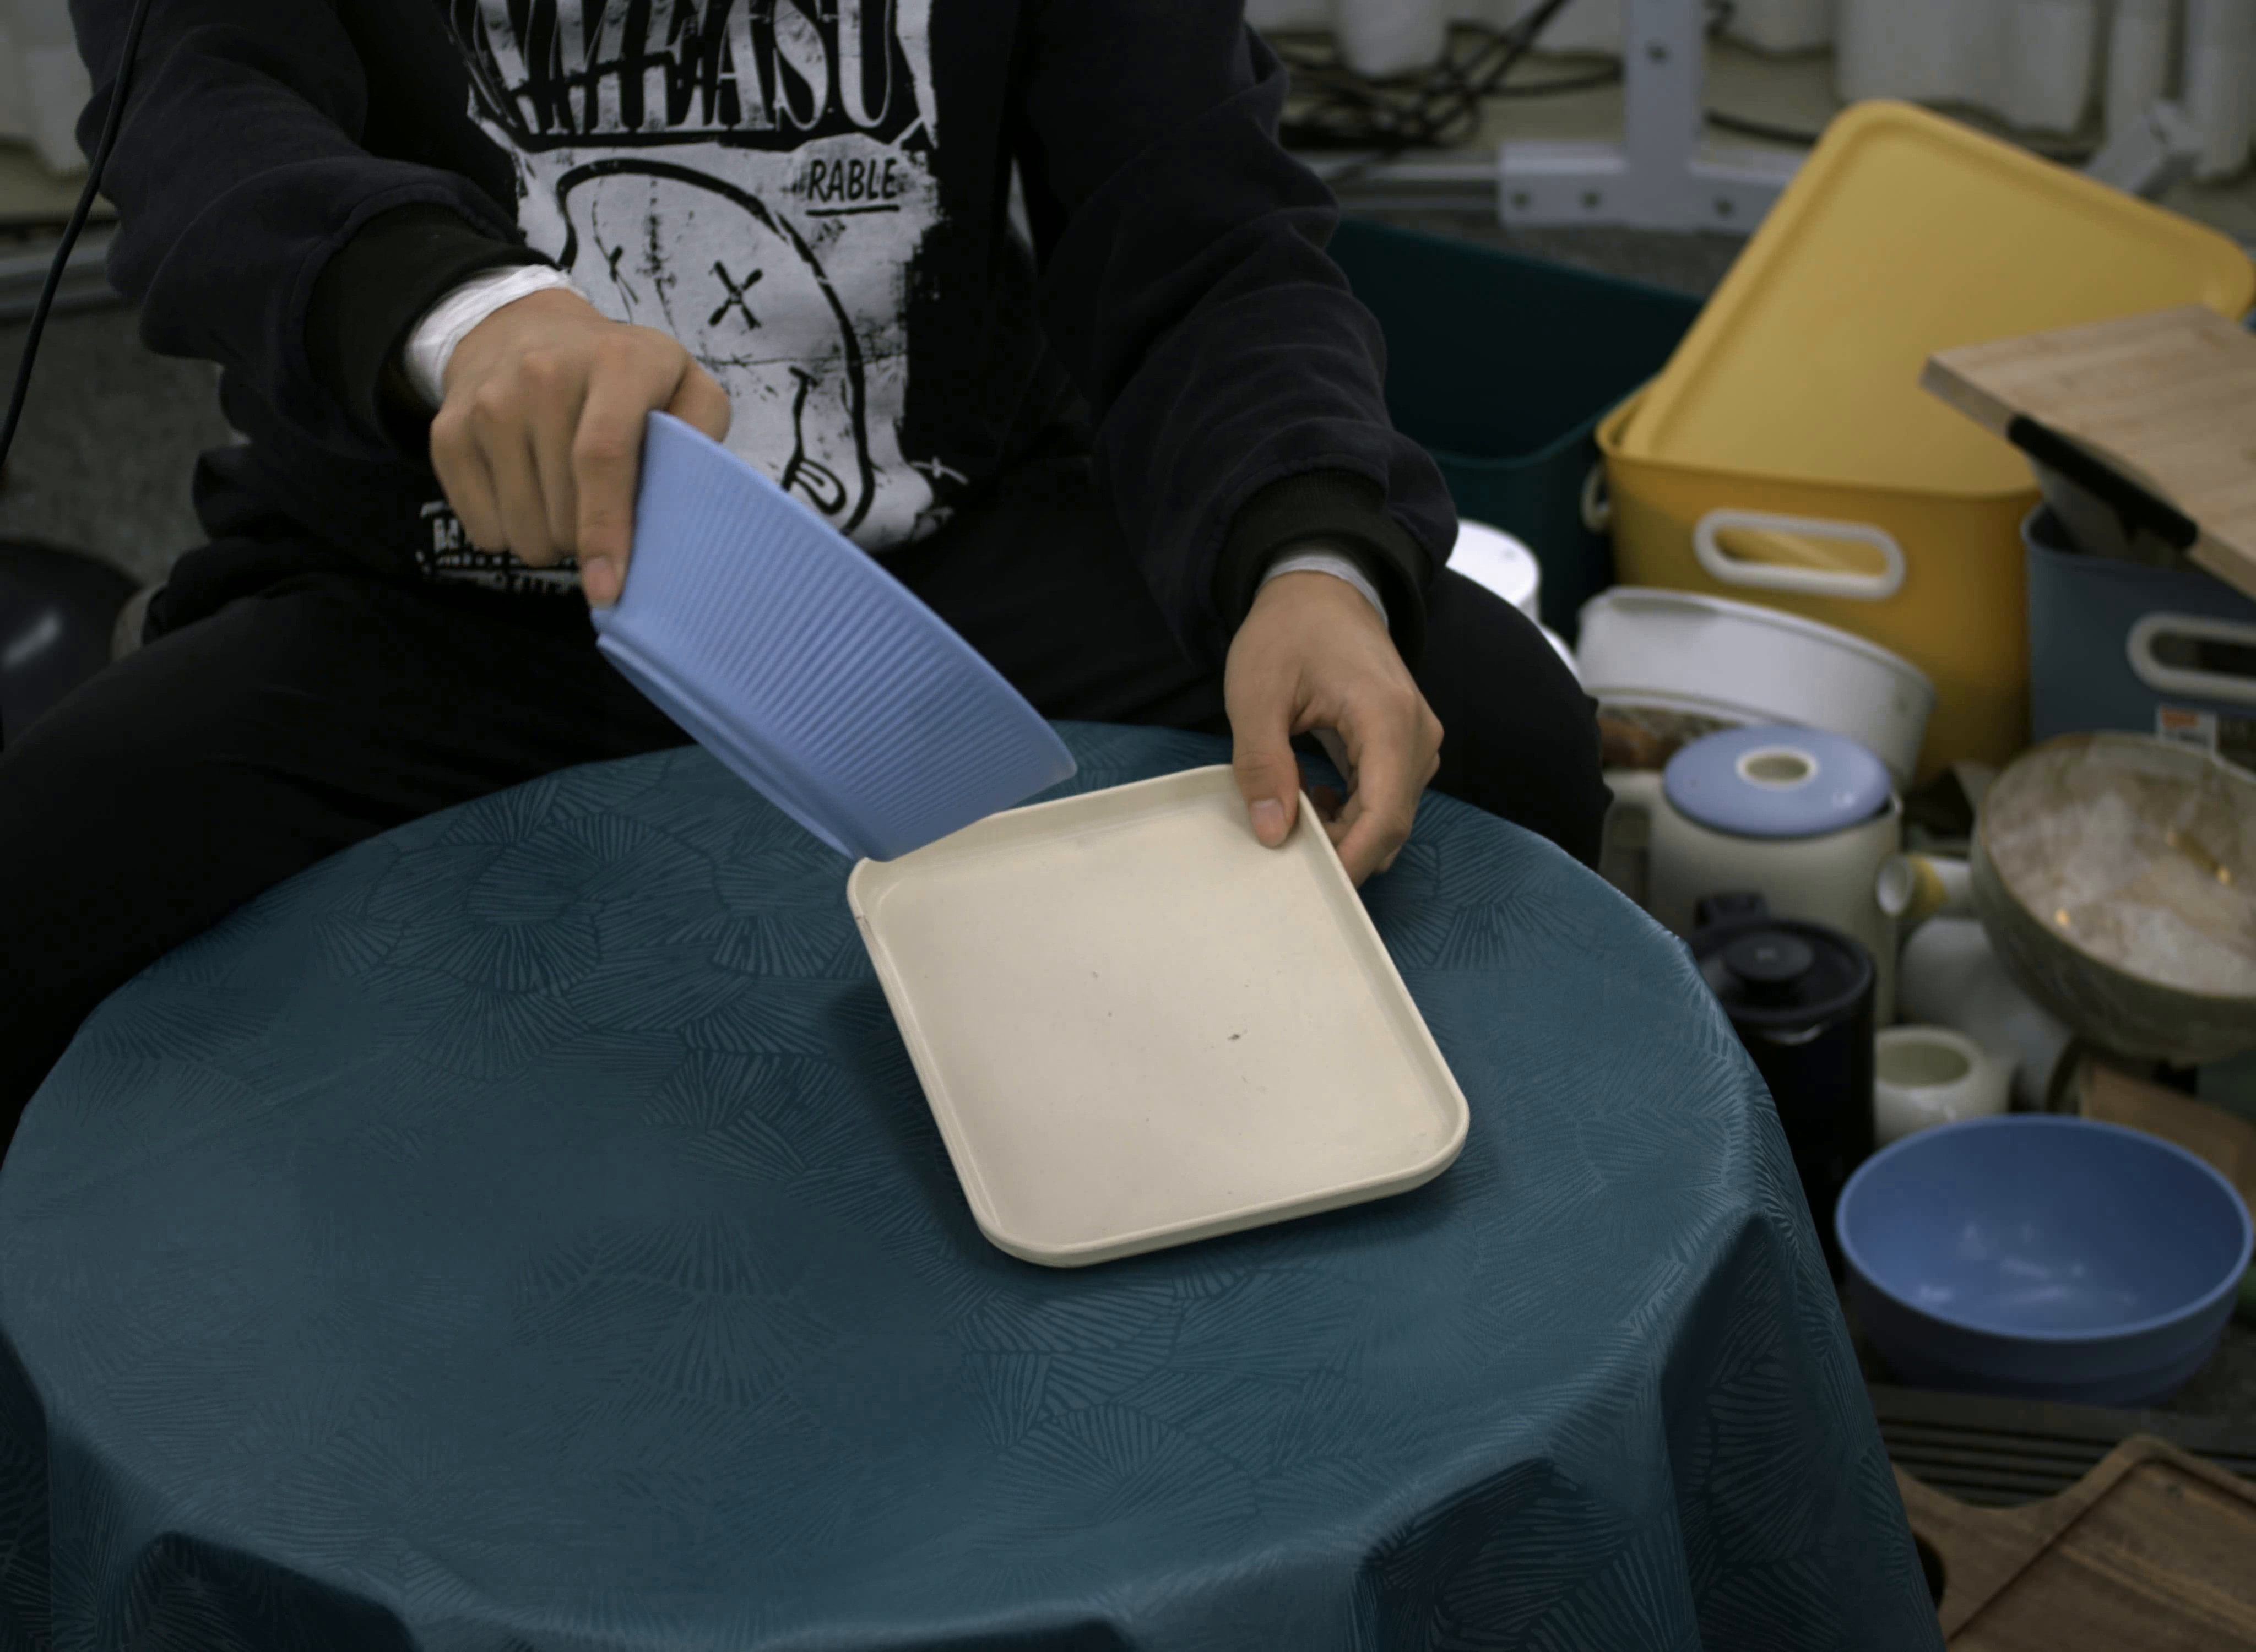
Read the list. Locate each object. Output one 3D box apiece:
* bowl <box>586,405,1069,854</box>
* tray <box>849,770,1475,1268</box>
[{"bbox_3d":[-0.106,-0.052,1.774,0.070,0.174,0.176,-50,41,-6],"label":"bowl"},{"bbox_3d":[0.008,0.064,1.916,0.171,0.017,0.243,-11,36,-12],"label":"tray"}]
